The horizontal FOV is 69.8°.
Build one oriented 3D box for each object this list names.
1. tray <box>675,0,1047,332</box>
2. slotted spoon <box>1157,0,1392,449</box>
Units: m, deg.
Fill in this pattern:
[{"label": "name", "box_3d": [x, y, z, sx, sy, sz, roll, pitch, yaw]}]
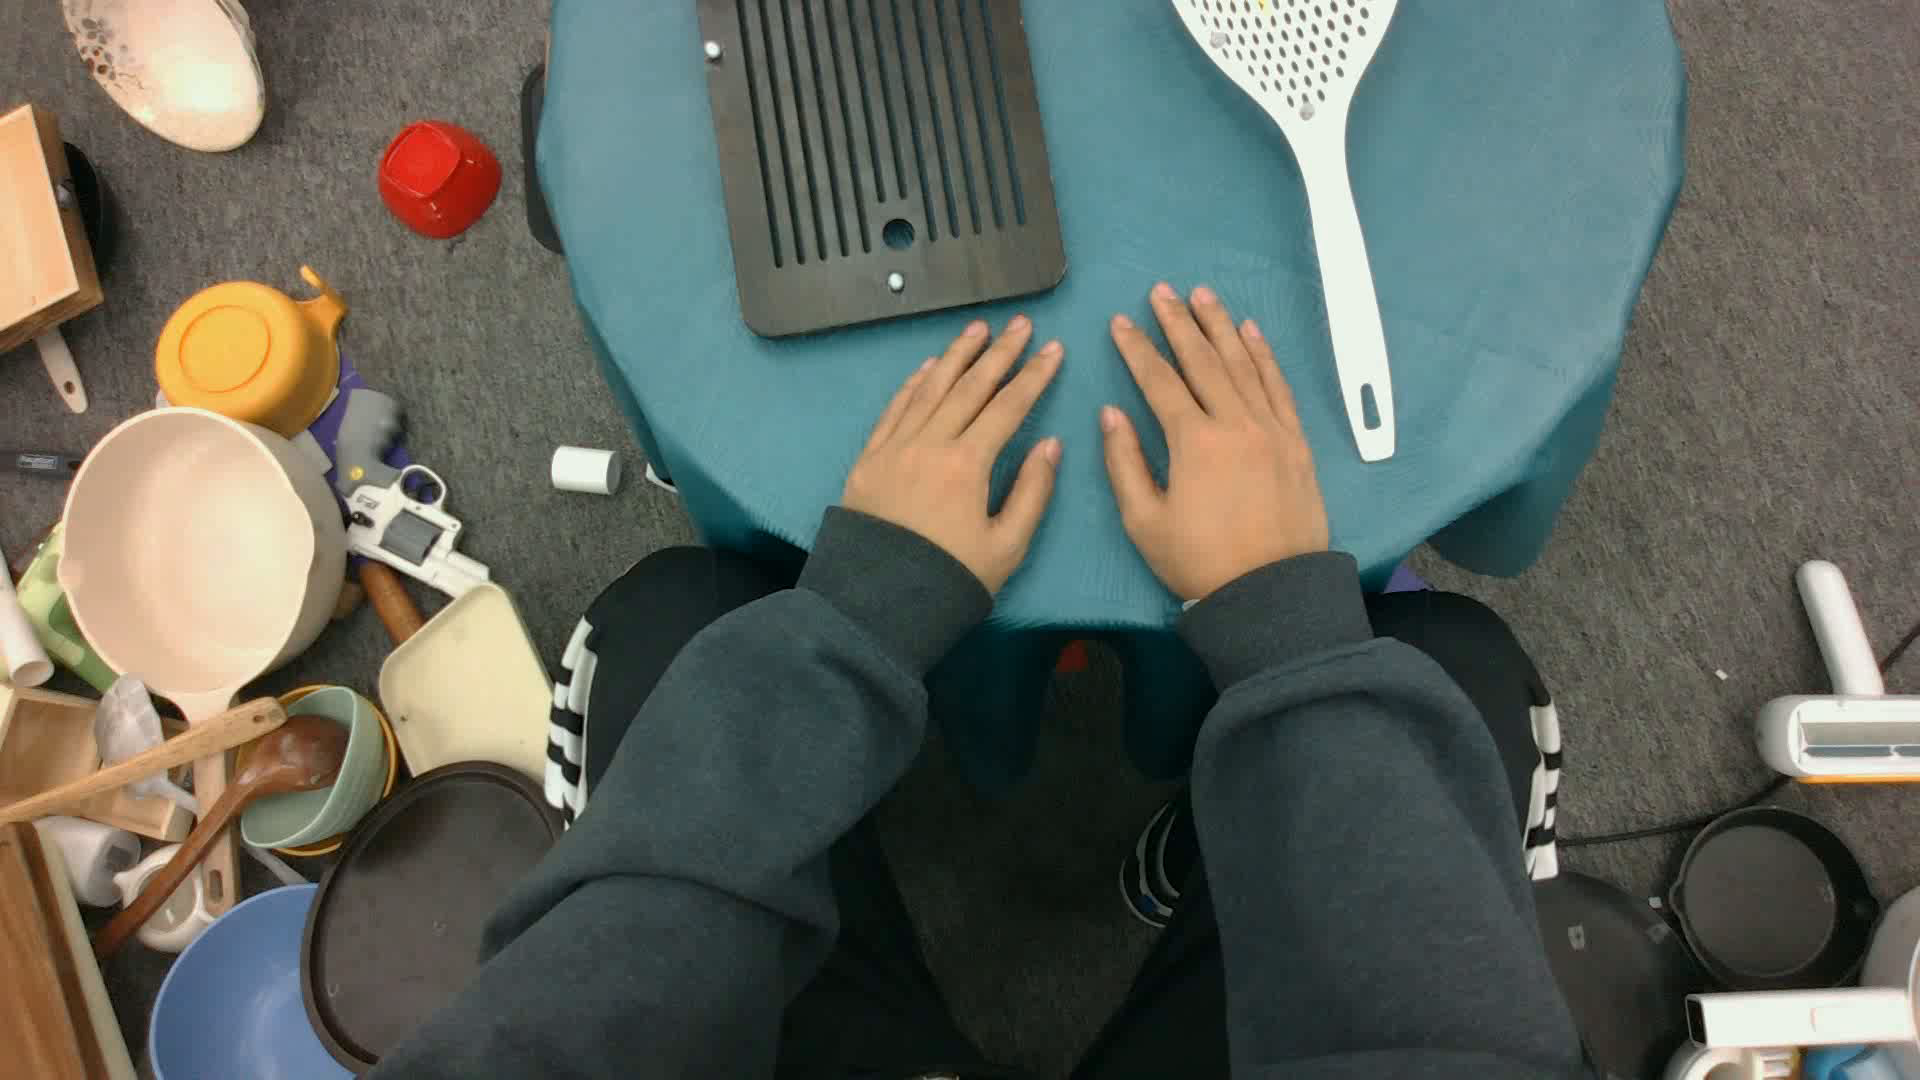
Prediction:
[{"label": "tray", "box_3d": [-0.062, -0.266, 0.734, 0.170, 0.018, 0.306, -10, 79, 1]}, {"label": "slotted spoon", "box_3d": [0.172, -0.217, 0.703, 0.137, 0.050, 0.348, -10, 79, -2]}]
